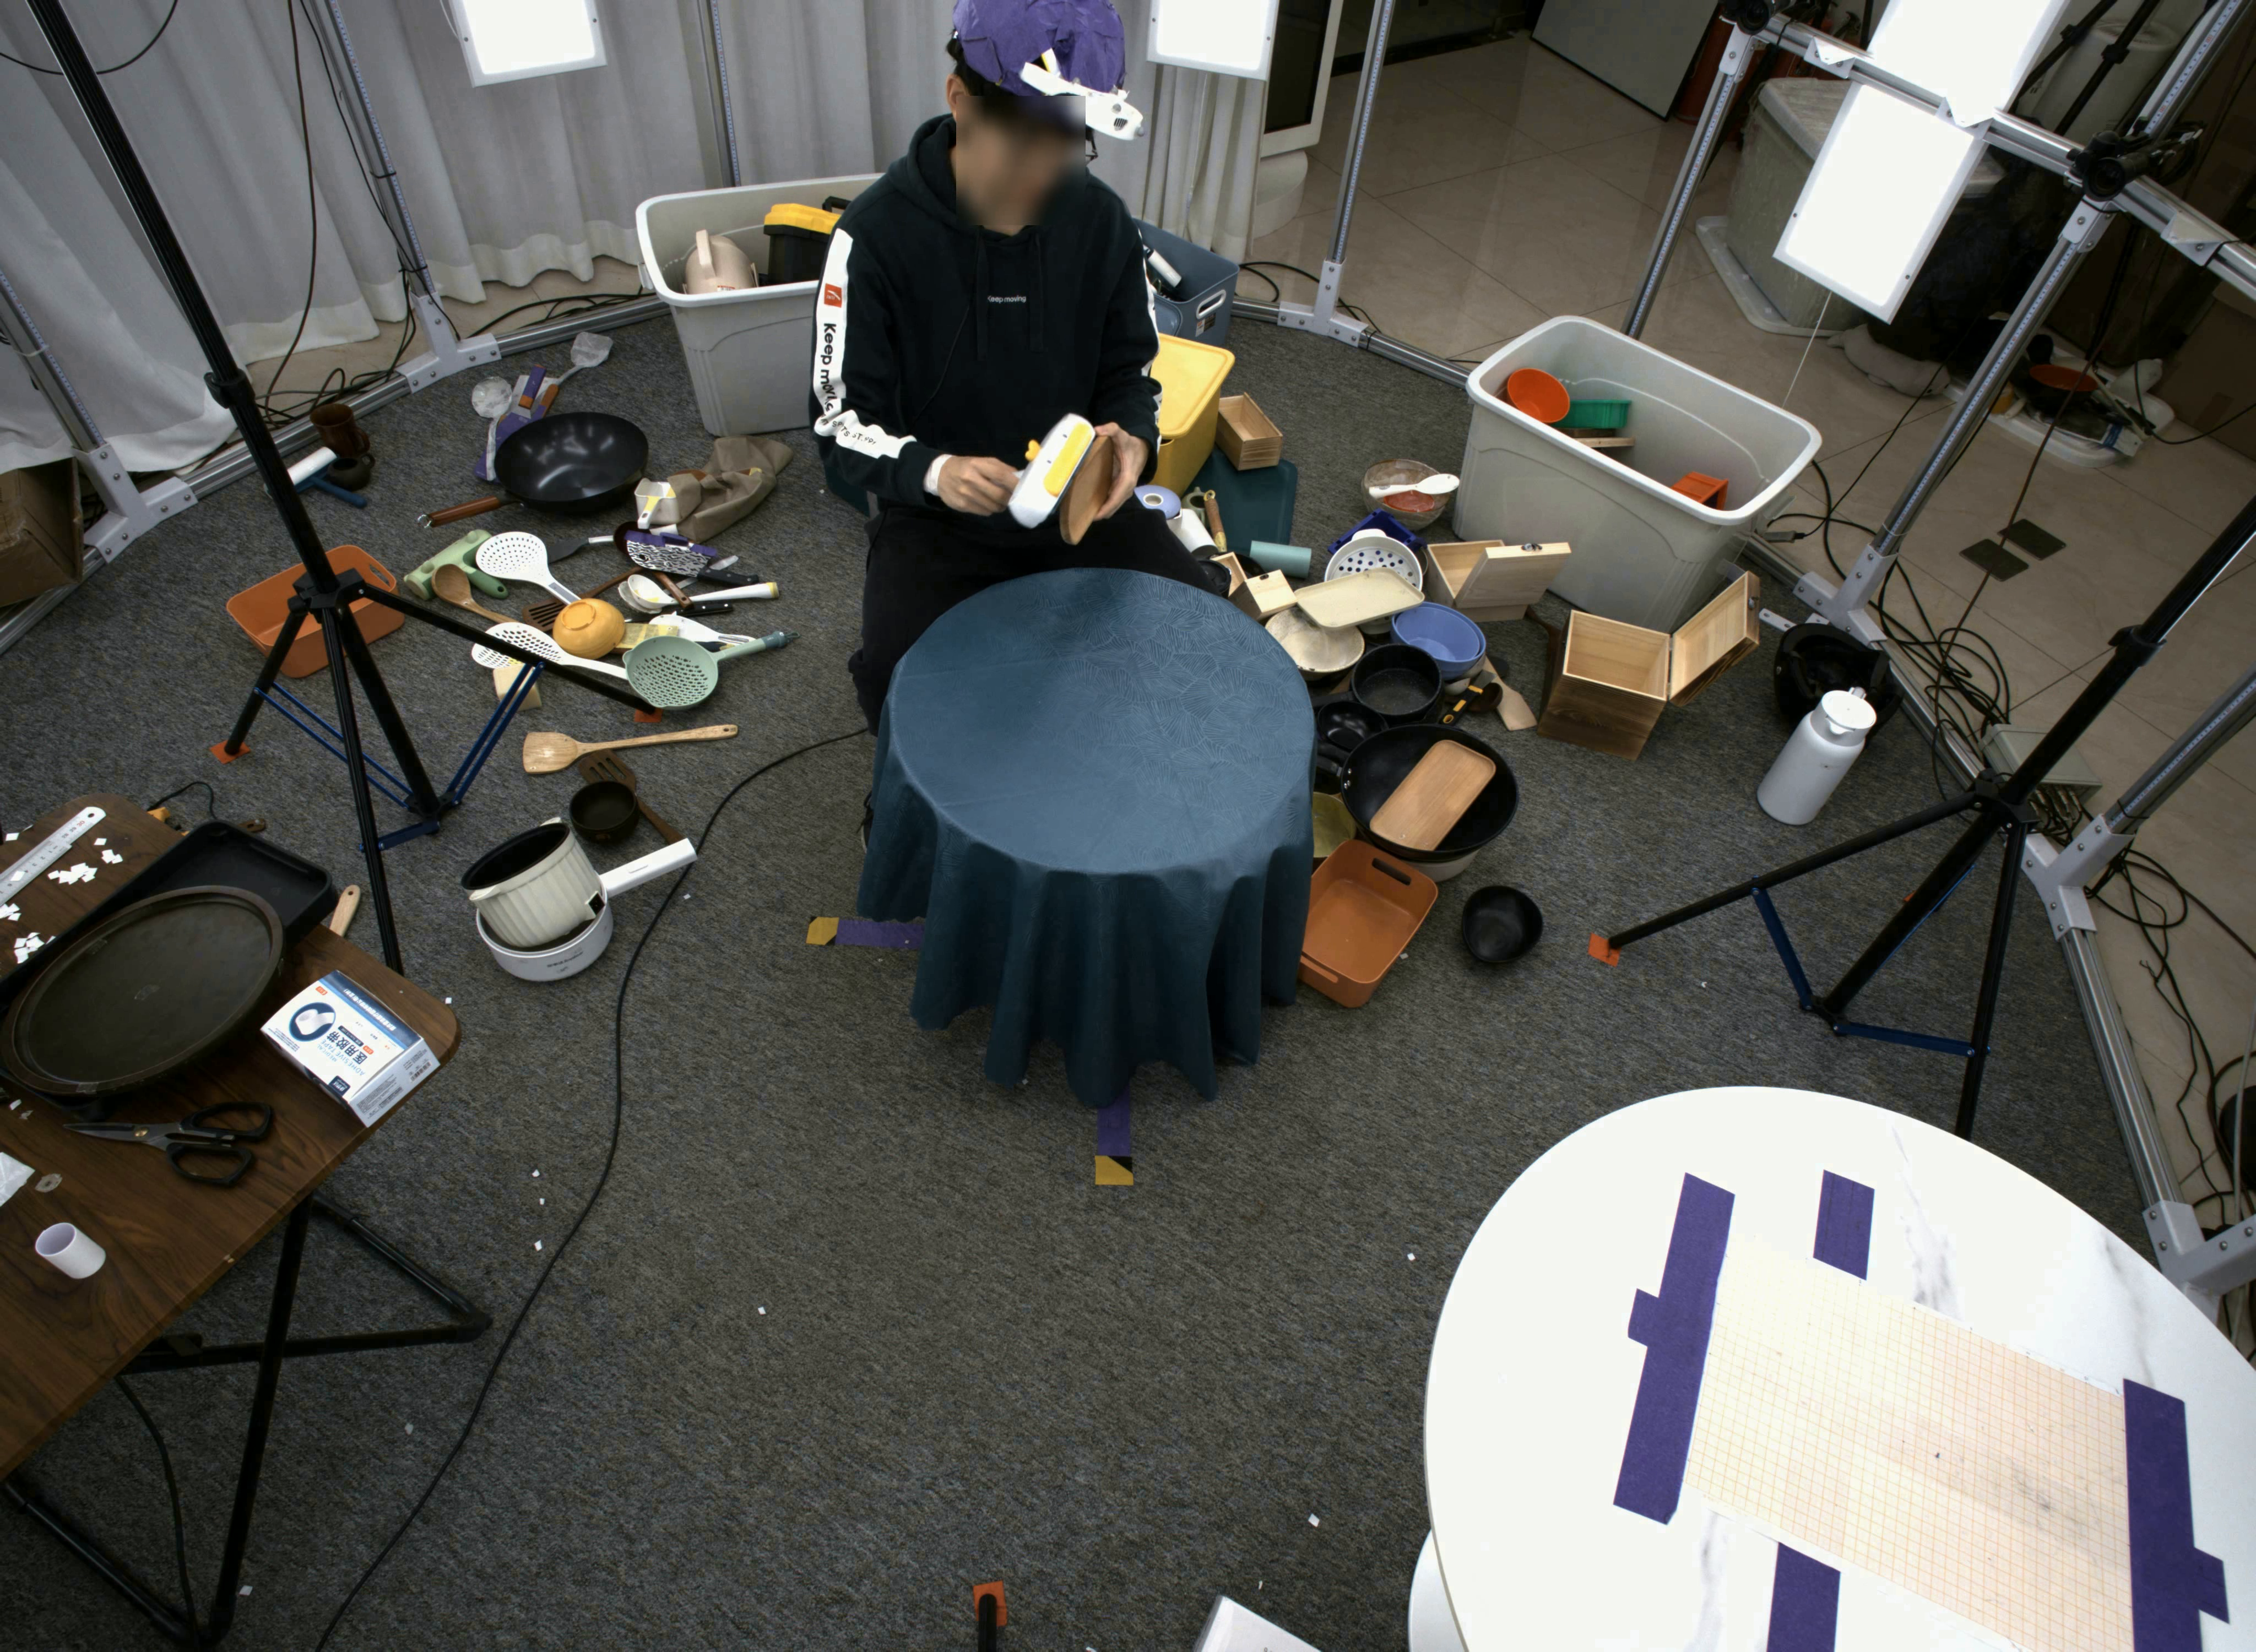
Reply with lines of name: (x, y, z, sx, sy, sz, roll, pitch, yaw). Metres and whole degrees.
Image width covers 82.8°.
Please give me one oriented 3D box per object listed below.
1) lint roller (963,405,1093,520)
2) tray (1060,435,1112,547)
lint roller: (-0.143, -0.469, 1.748, 0.073, 0.191, 0.197, 39, 48, -29)
tray: (-0.057, -0.471, 1.806, 0.020, 0.099, 0.236, 10, 38, 11)
